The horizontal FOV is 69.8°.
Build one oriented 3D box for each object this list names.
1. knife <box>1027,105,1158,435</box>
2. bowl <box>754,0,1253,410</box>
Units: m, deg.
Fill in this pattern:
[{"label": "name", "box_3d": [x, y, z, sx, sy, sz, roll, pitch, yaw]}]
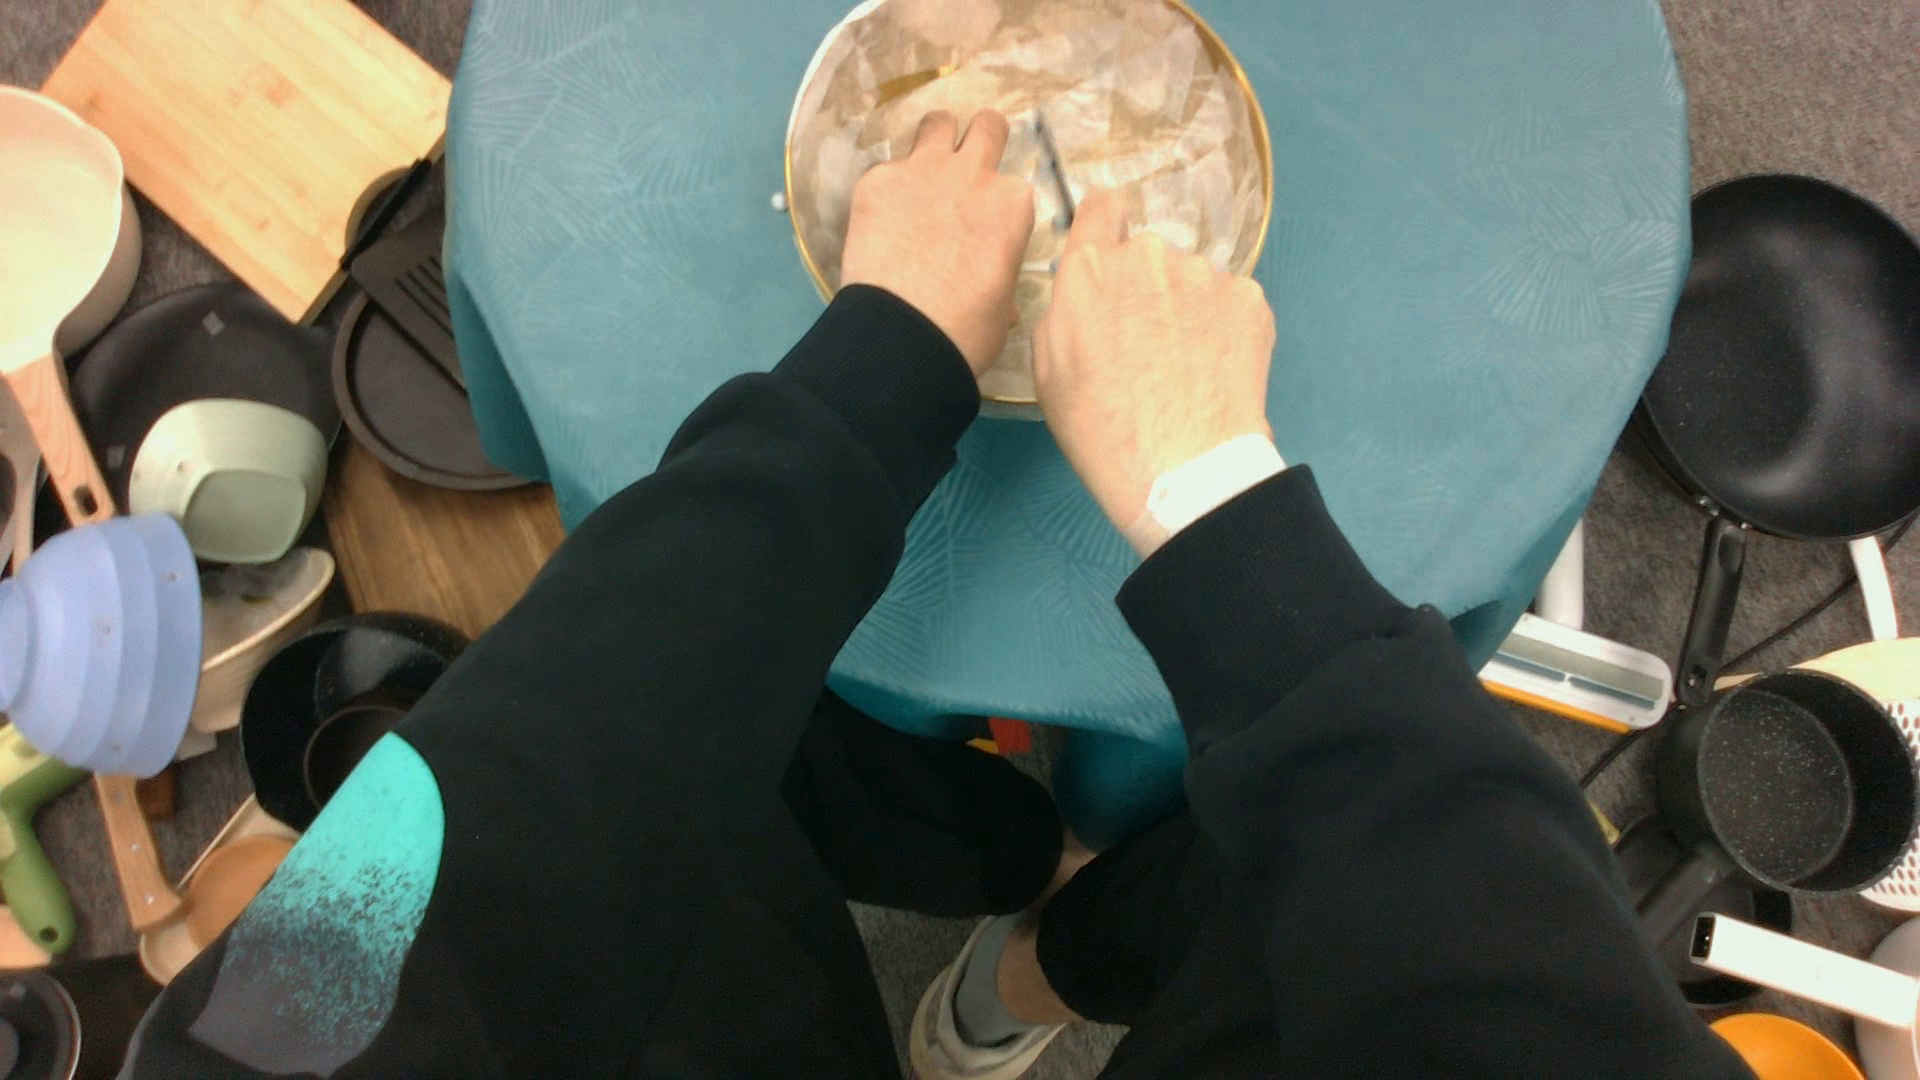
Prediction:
[{"label": "knife", "box_3d": [0.049, -0.123, 0.568, 0.017, 0.026, 0.226, -13, 49, 3]}, {"label": "bowl", "box_3d": [0.016, -0.140, 0.605, 0.215, 0.094, 0.215, 1, 75, -3]}]
